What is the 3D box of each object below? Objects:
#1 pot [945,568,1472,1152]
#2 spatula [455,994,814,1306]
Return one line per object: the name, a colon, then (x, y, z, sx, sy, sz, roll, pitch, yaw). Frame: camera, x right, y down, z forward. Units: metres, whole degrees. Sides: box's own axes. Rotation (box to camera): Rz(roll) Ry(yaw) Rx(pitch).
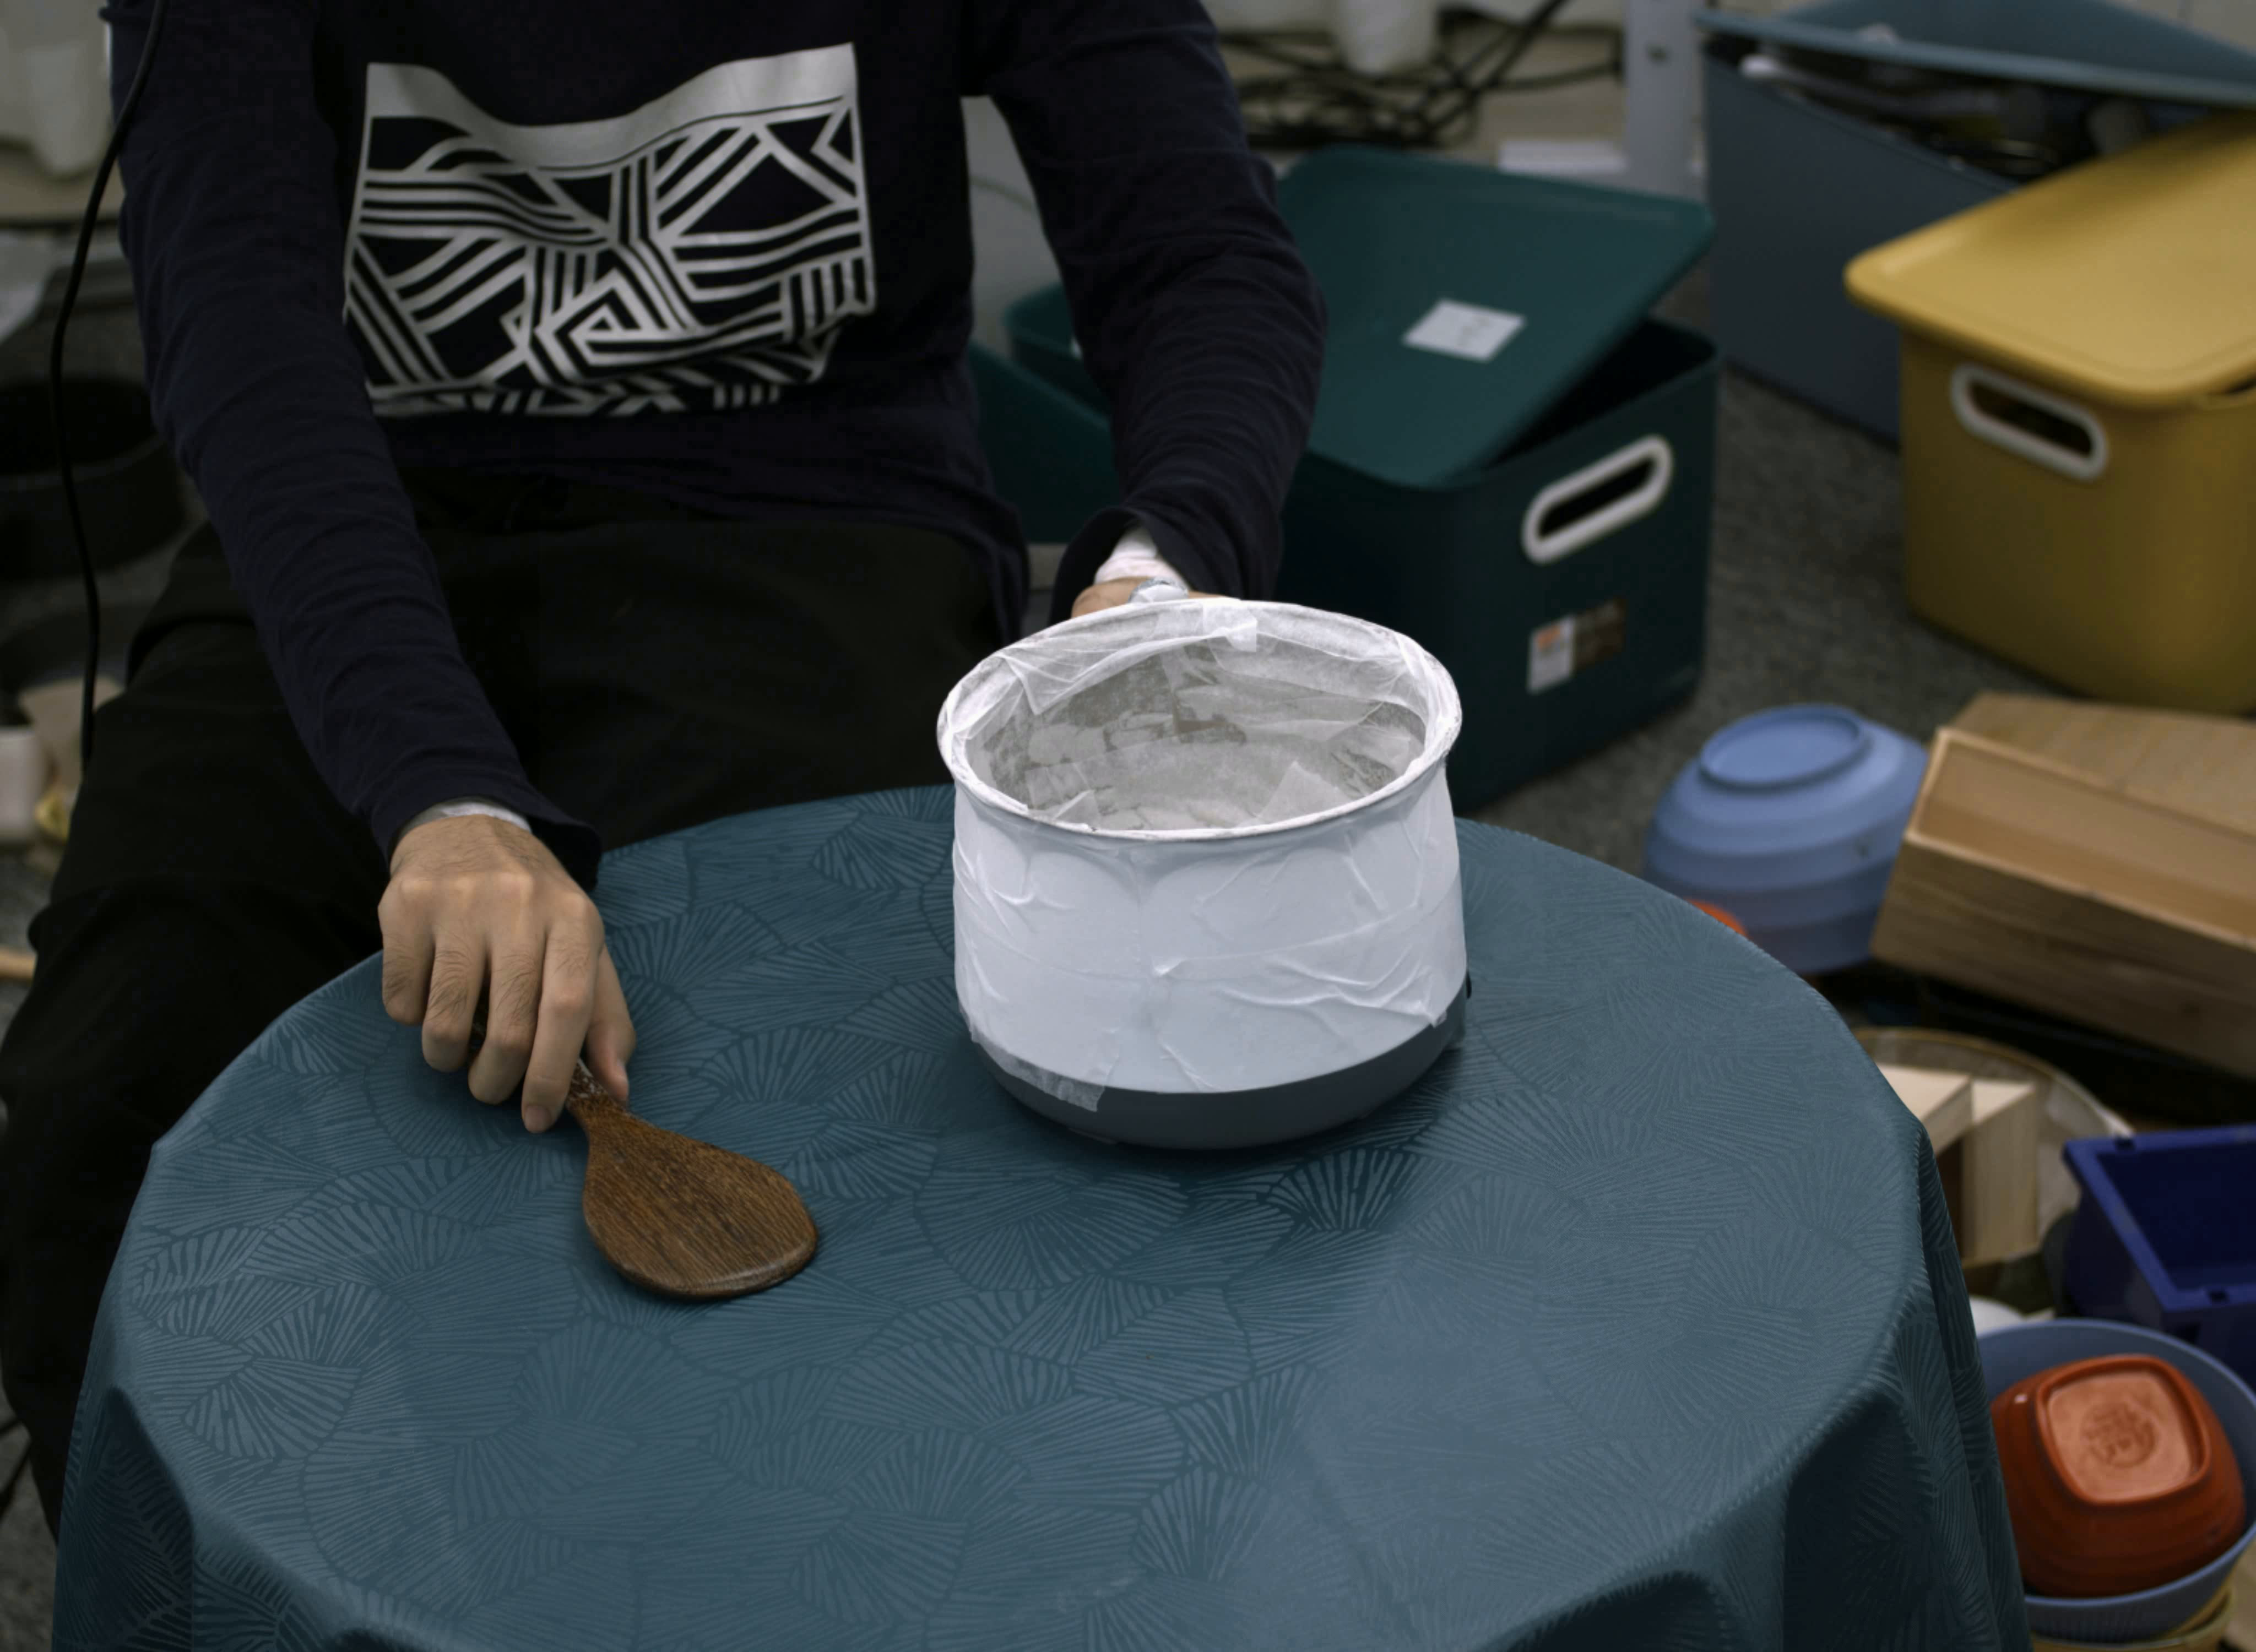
pot: (0.023, 0.004, 1.936, 0.178, 0.135, 0.237, -4, 28, -8)
spatula: (-0.174, 0.105, 1.893, 0.072, 0.009, 0.217, -12, 30, -28)
